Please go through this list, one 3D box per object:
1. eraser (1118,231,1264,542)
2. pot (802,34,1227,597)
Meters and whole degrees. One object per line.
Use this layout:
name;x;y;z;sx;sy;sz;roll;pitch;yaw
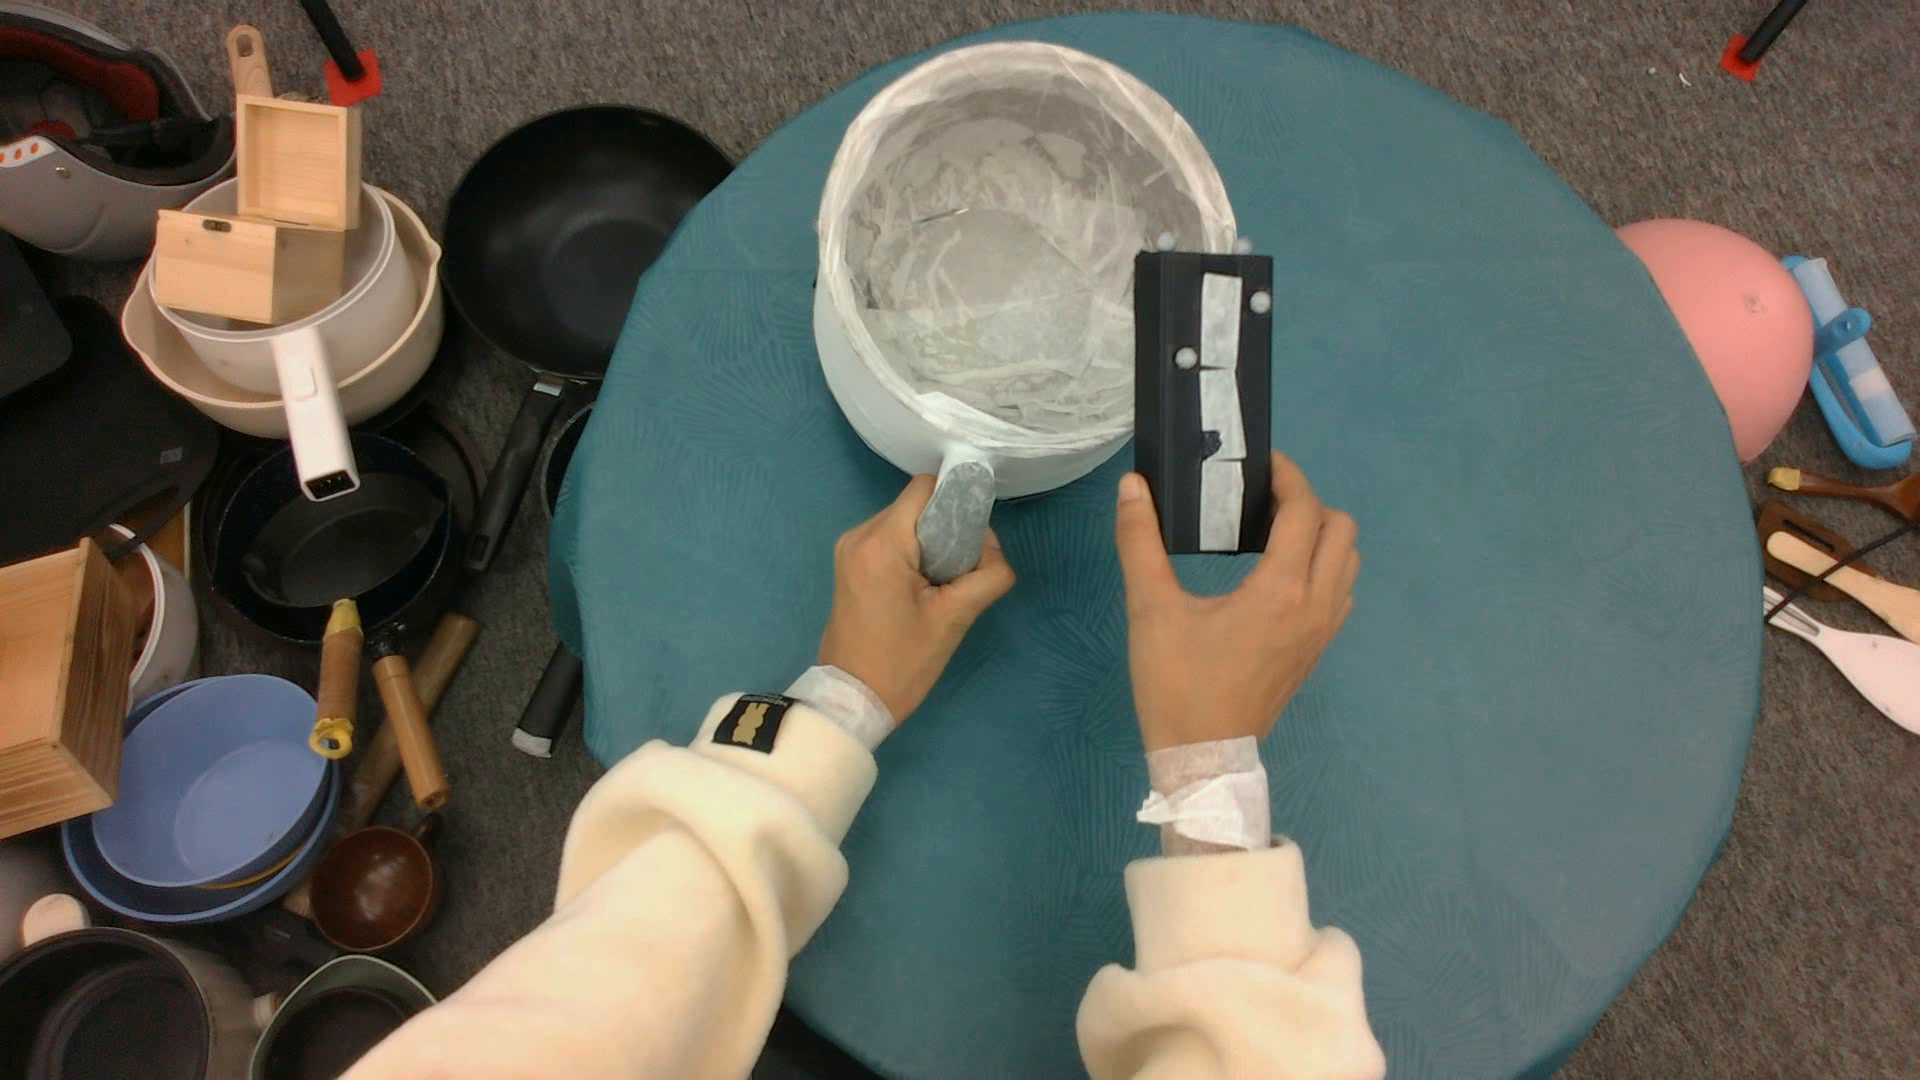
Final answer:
eraser;0.093;-0.062;0.563;0.053;0.030;0.125;0;94;-19
pot;0.011;-0.092;0.629;0.179;0.136;0.234;14;78;-6
